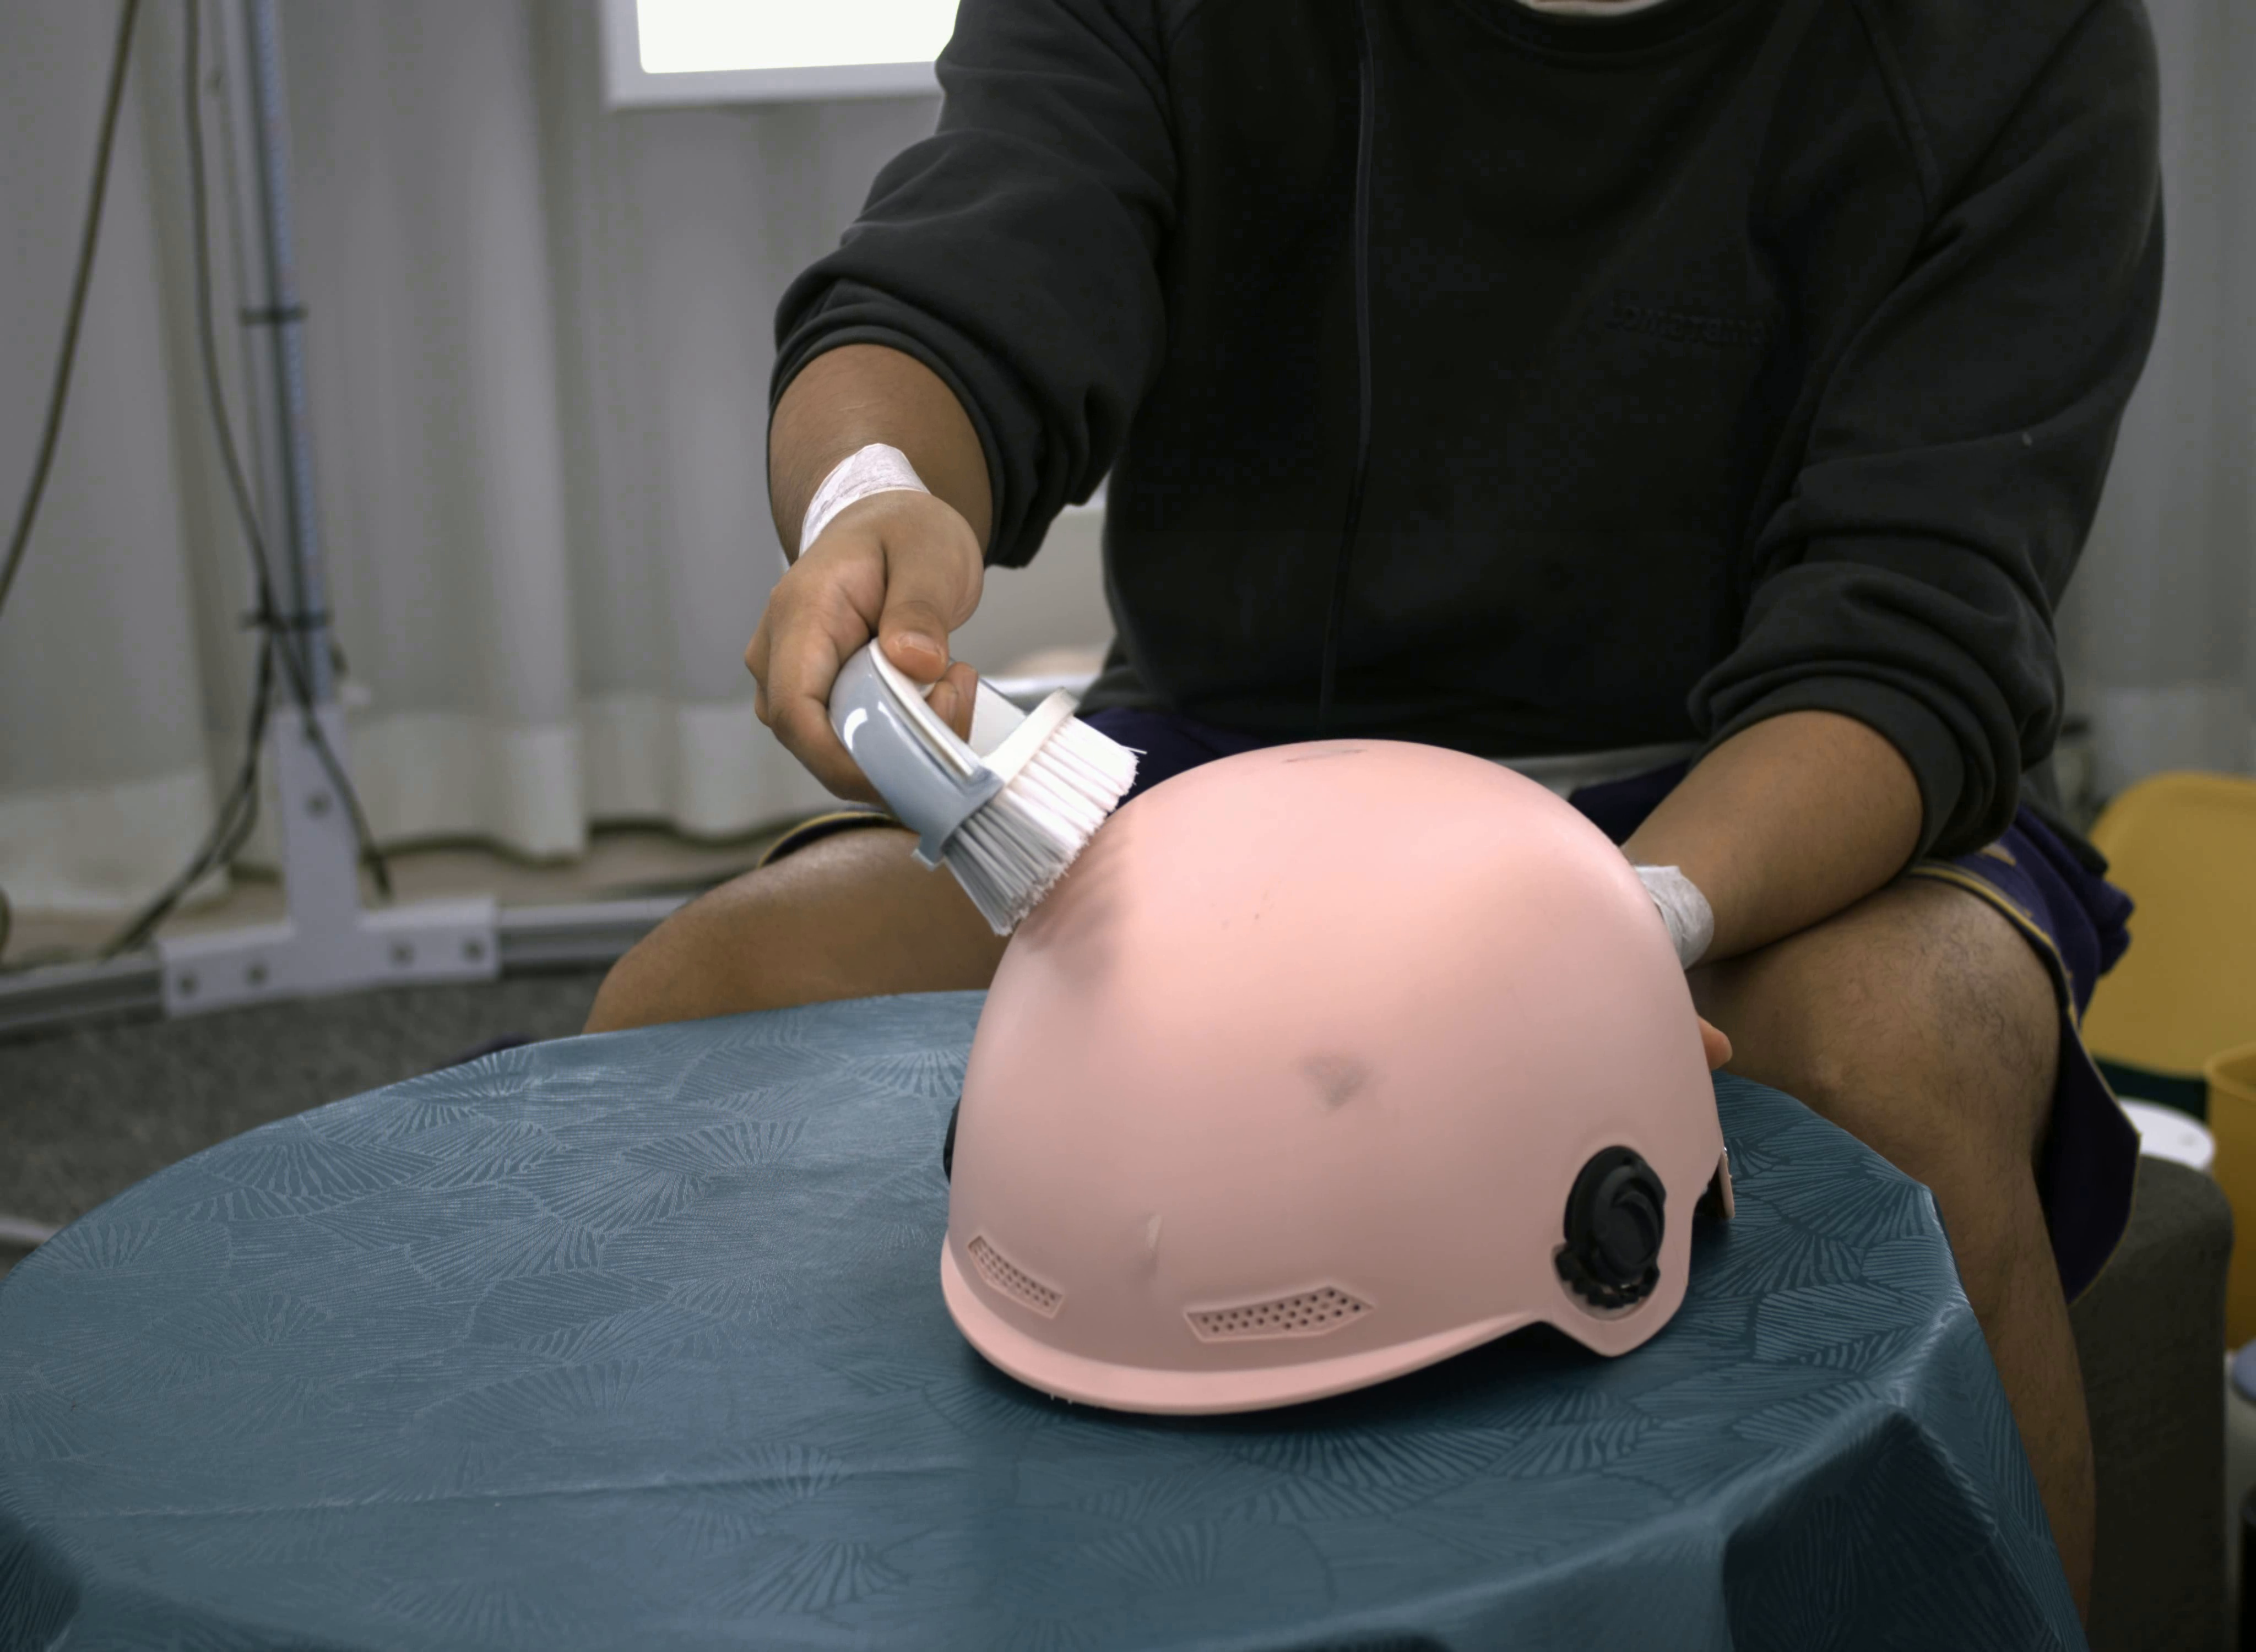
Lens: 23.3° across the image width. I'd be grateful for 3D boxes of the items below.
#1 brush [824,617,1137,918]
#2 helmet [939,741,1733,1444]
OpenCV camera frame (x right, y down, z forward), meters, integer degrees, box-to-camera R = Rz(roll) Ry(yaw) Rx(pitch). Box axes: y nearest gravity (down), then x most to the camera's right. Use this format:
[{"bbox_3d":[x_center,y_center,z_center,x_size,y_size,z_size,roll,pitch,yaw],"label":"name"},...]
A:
[{"bbox_3d":[-0.049,-0.022,1.611,0.094,0.061,0.176,39,12,-3],"label":"brush"},{"bbox_3d":[0.056,0.063,1.607,0.234,0.158,0.267,6,22,29],"label":"helmet"}]
